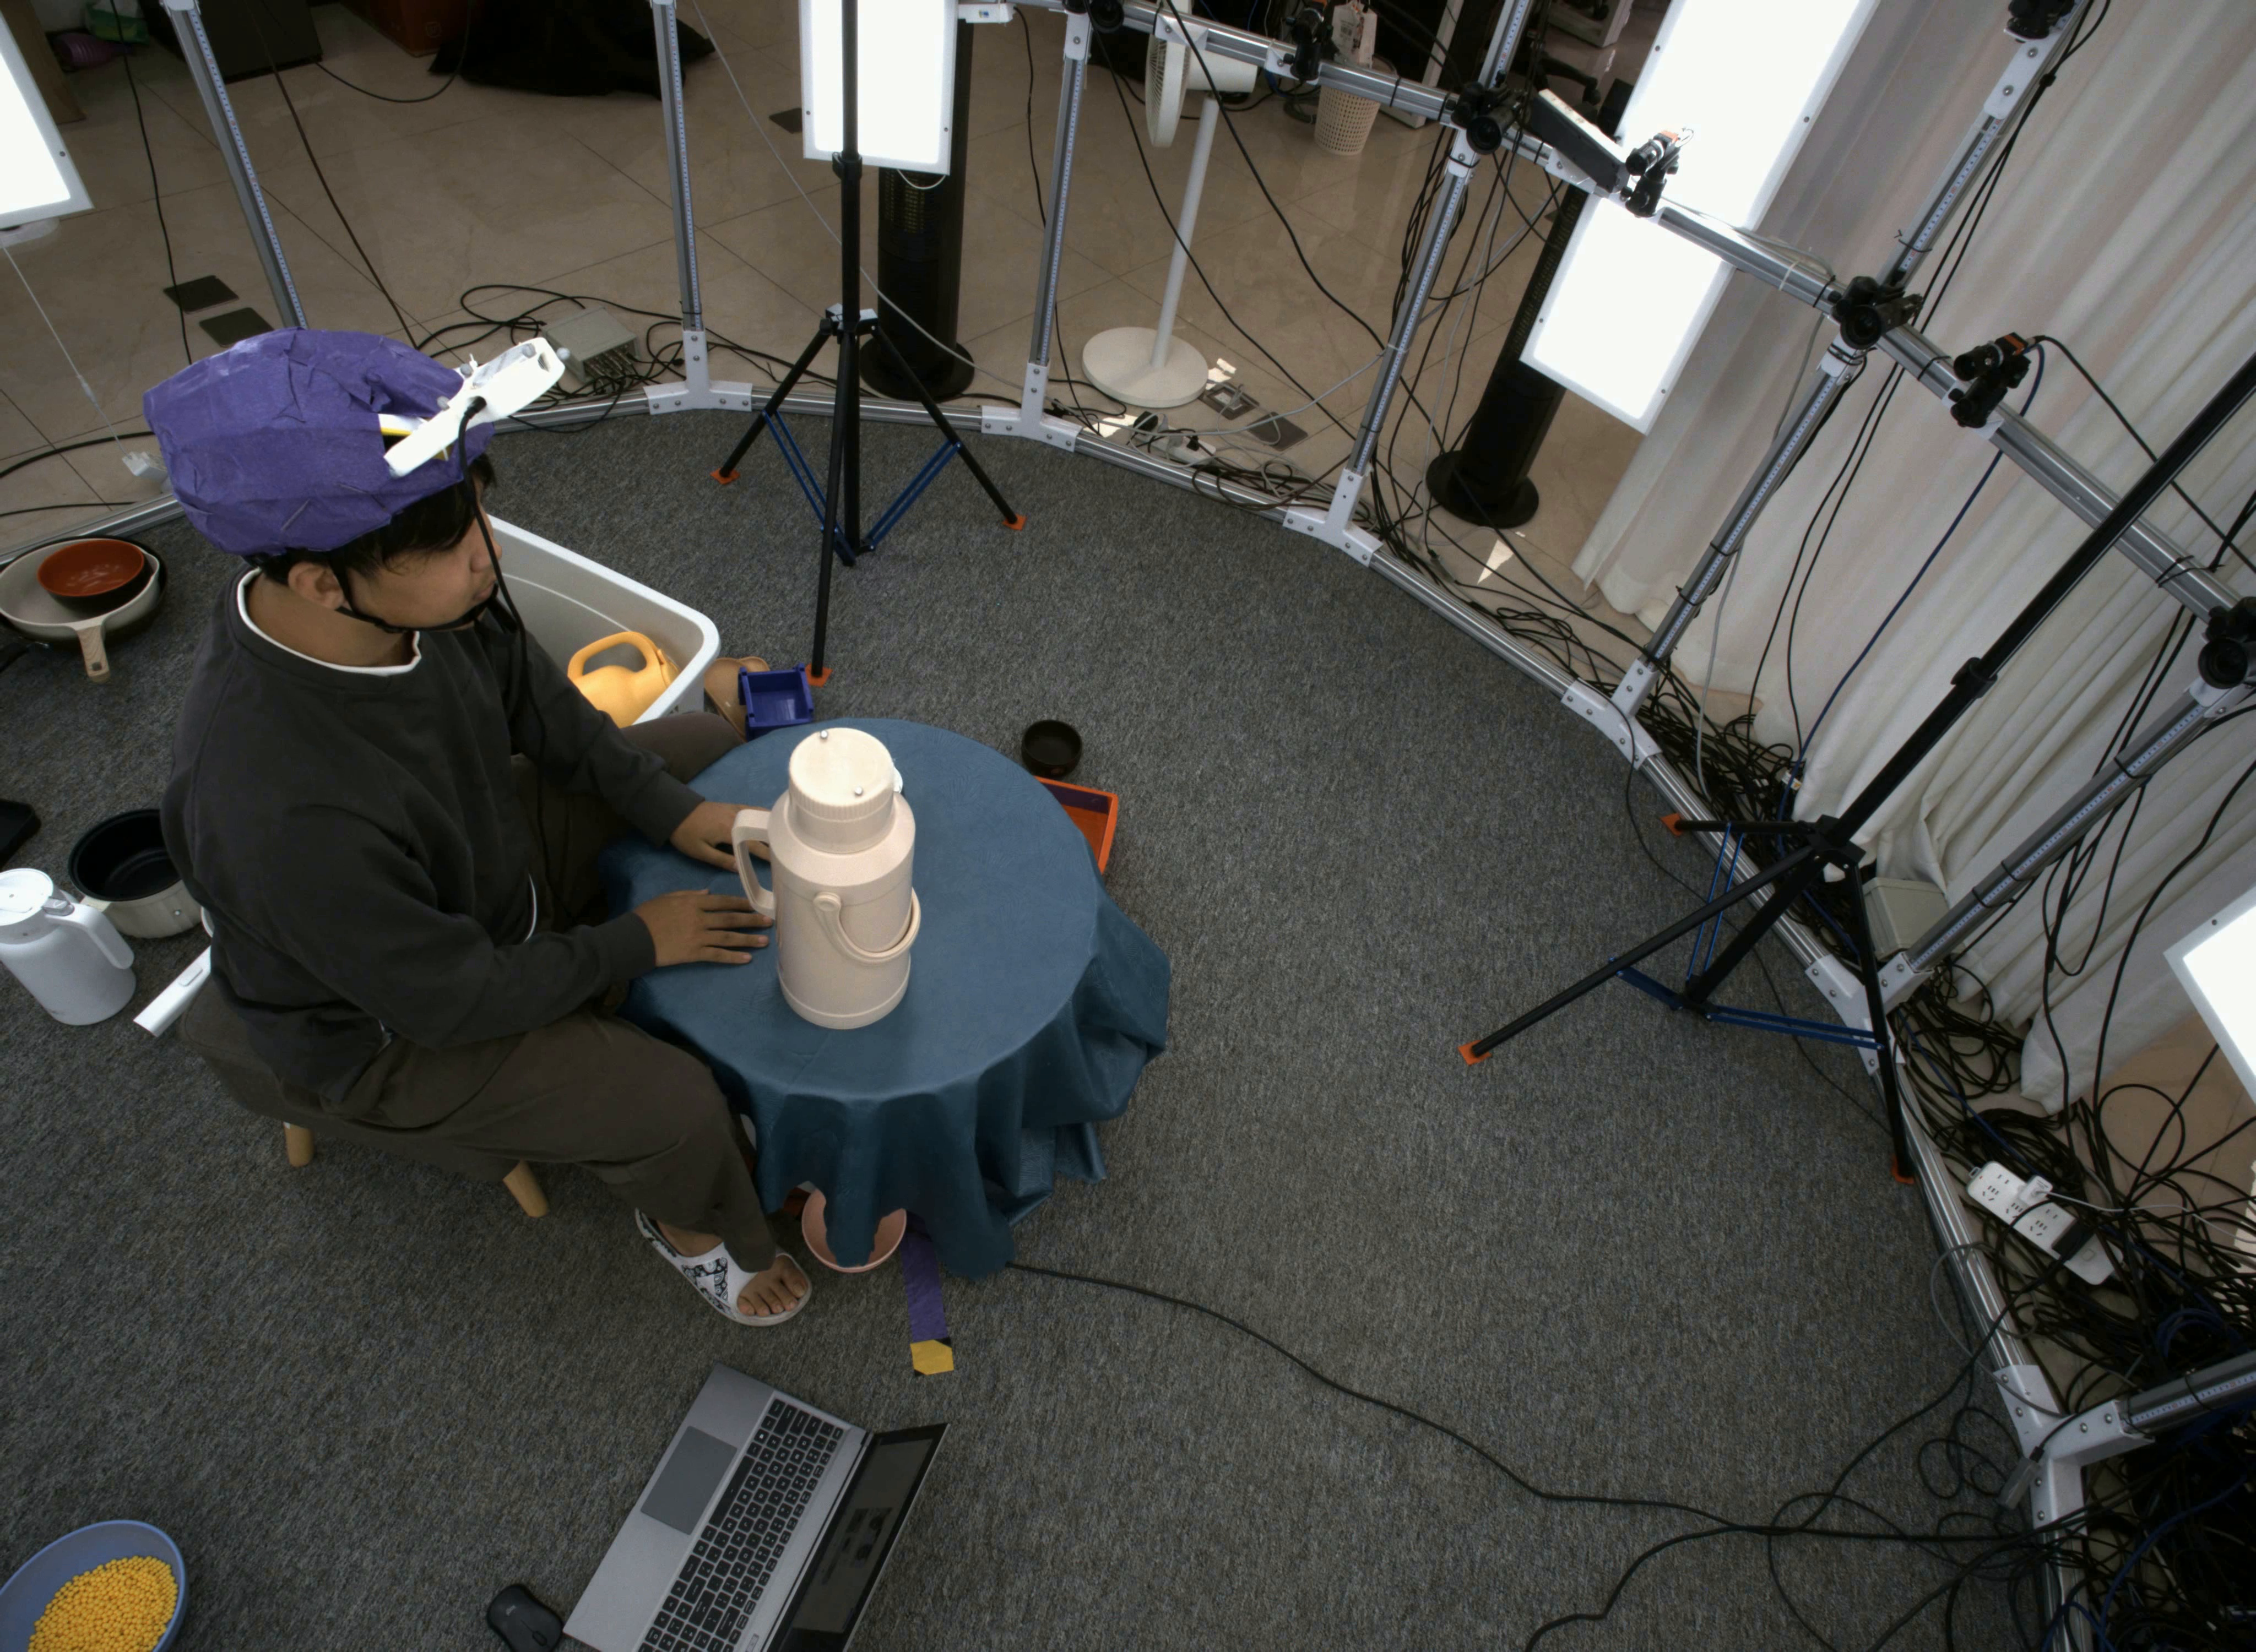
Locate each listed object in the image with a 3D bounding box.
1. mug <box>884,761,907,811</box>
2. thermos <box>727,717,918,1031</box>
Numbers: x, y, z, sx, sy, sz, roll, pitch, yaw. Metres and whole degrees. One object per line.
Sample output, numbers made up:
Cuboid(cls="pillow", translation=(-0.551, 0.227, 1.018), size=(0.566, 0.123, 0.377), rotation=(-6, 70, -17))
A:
Cuboid(cls="mug", translation=(-0.342, -0.042, 1.714), size=(0.094, 0.092, 0.120), rotation=(-13, 57, -21))
Cuboid(cls="thermos", translation=(-0.335, 0.053, 1.445), size=(0.206, 0.415, 0.172), rotation=(7, 52, -7))
